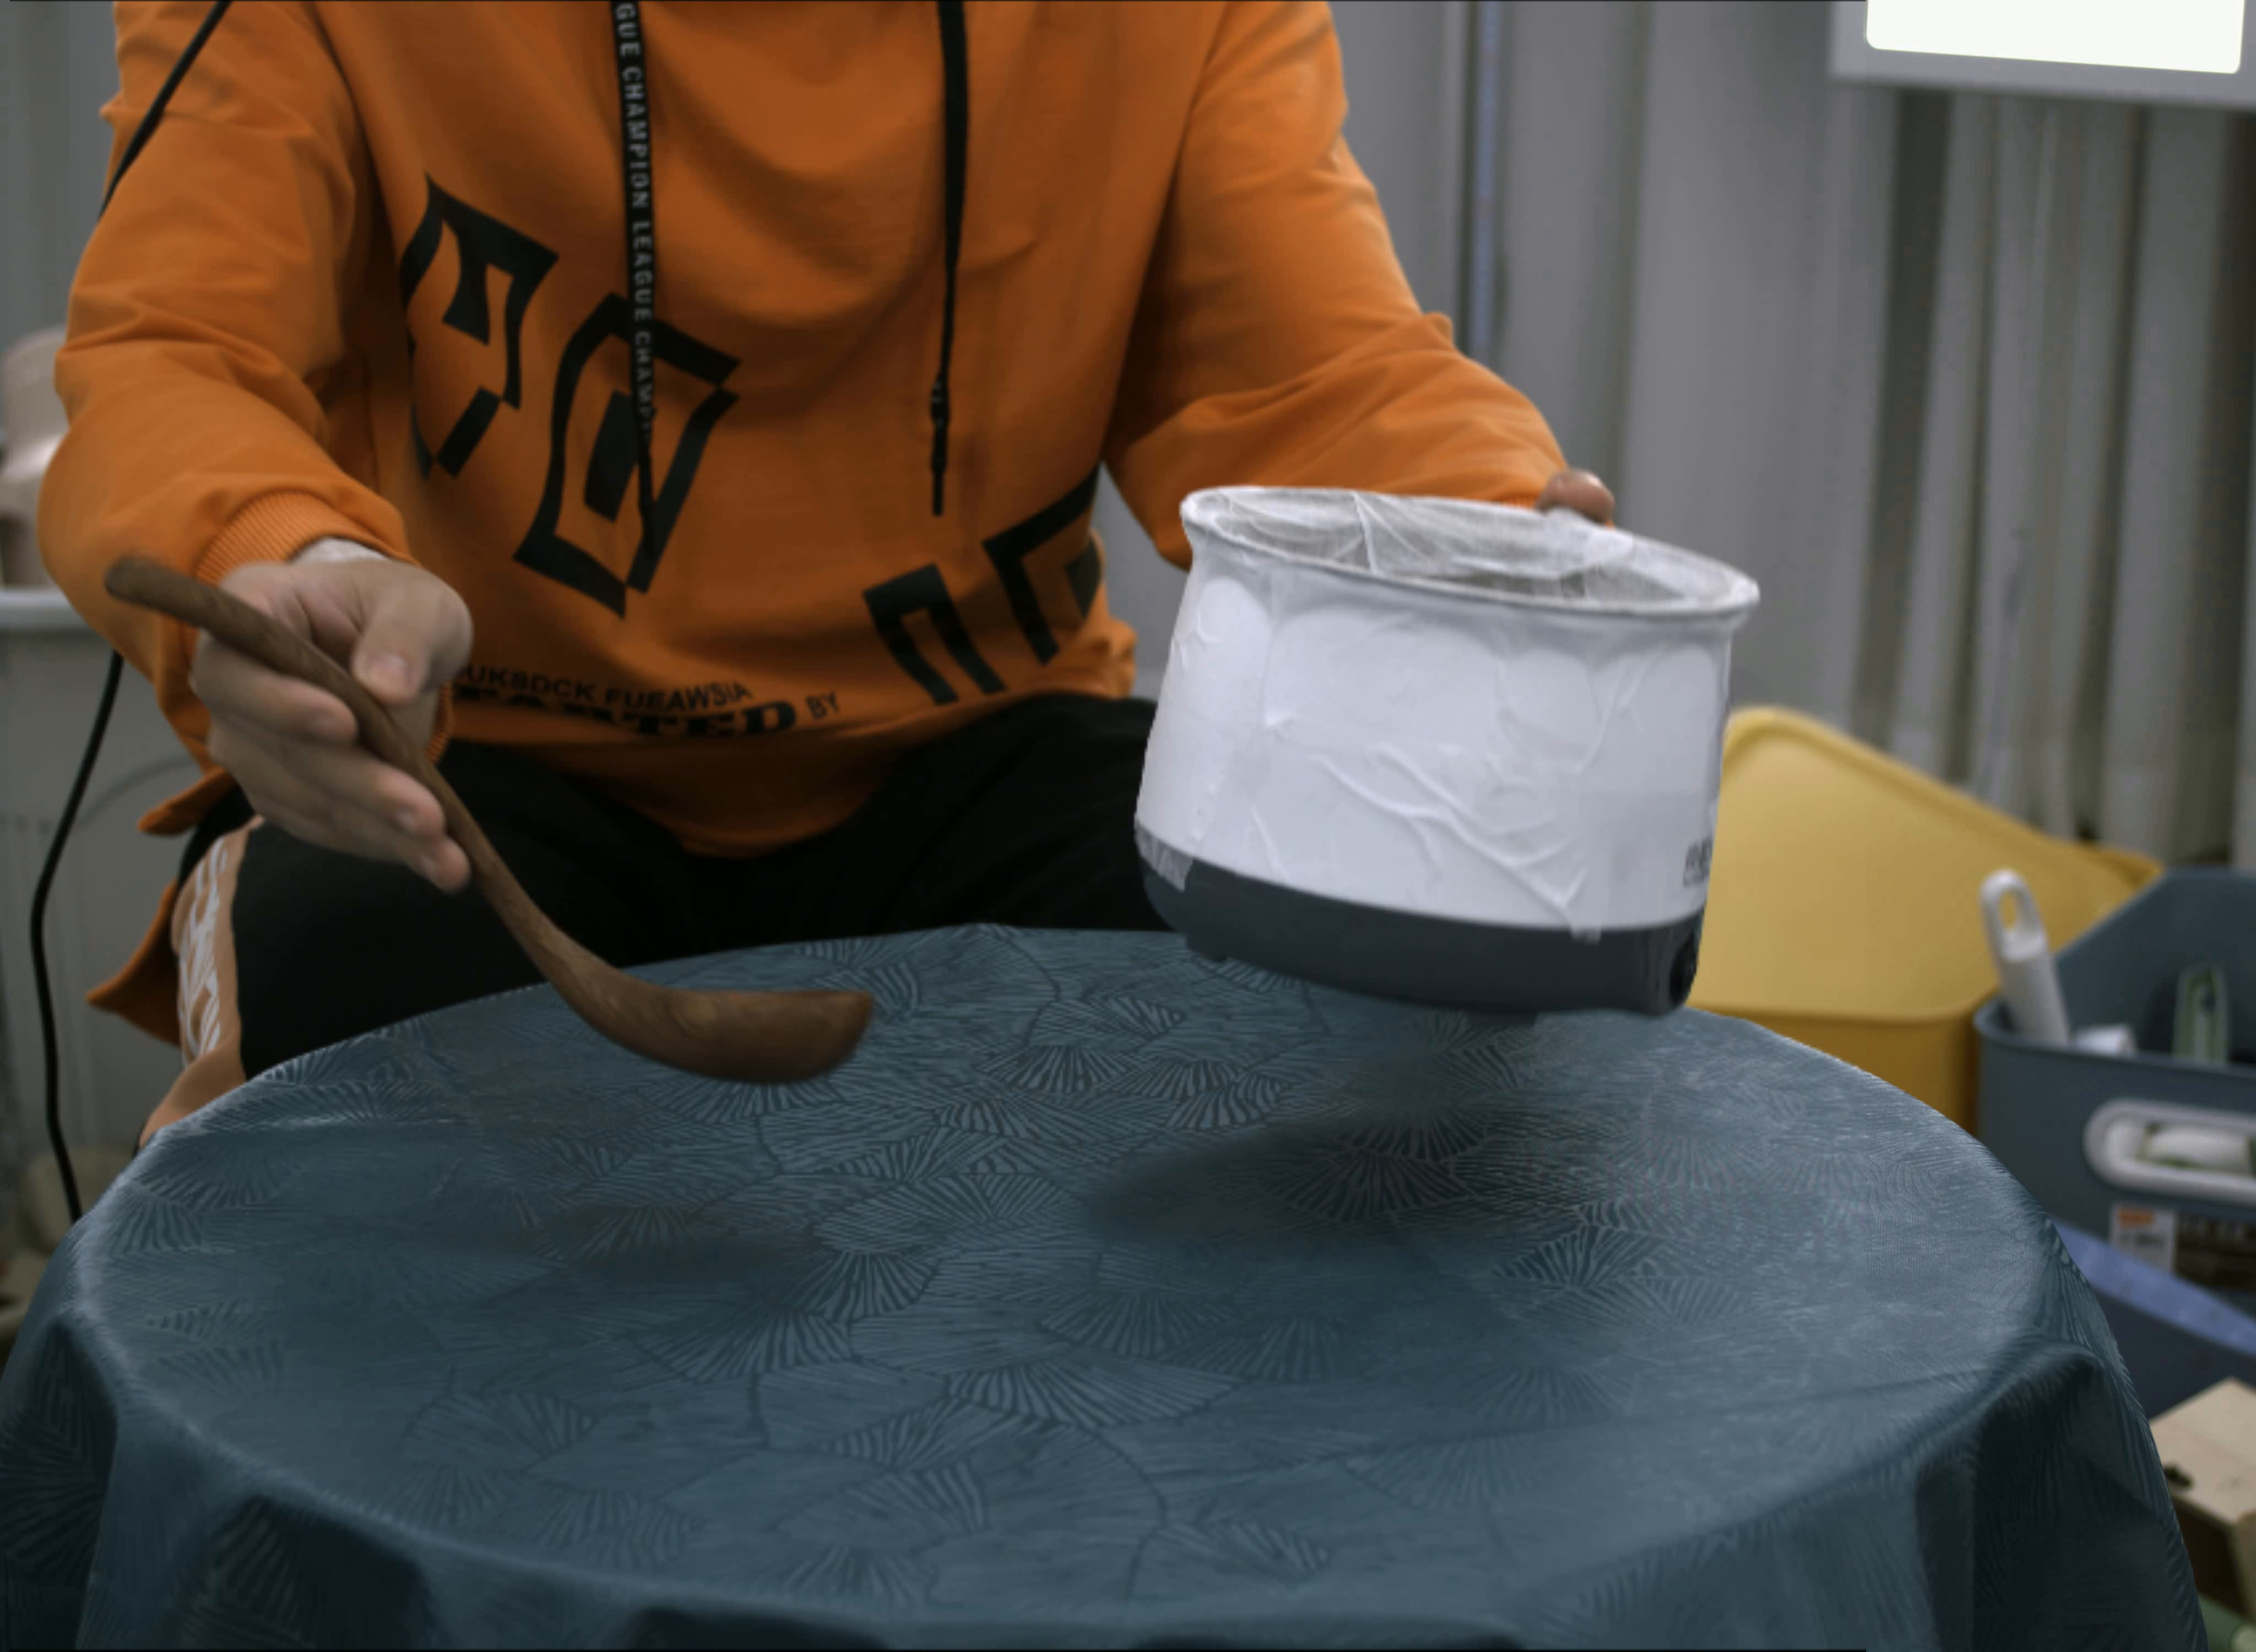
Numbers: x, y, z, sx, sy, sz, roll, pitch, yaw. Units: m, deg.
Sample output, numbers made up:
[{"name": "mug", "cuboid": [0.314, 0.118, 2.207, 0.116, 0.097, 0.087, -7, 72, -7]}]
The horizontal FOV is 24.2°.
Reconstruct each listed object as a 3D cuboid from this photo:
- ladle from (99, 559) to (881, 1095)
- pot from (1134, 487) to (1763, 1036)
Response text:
[{"name": "ladle", "cuboid": [-0.183, -0.007, 1.534, 0.065, 0.261, 0.076, -49, 10, -12]}, {"name": "pot", "cuboid": [0.104, -0.025, 1.627, 0.177, 0.137, 0.234, 14, 13, 18]}]
